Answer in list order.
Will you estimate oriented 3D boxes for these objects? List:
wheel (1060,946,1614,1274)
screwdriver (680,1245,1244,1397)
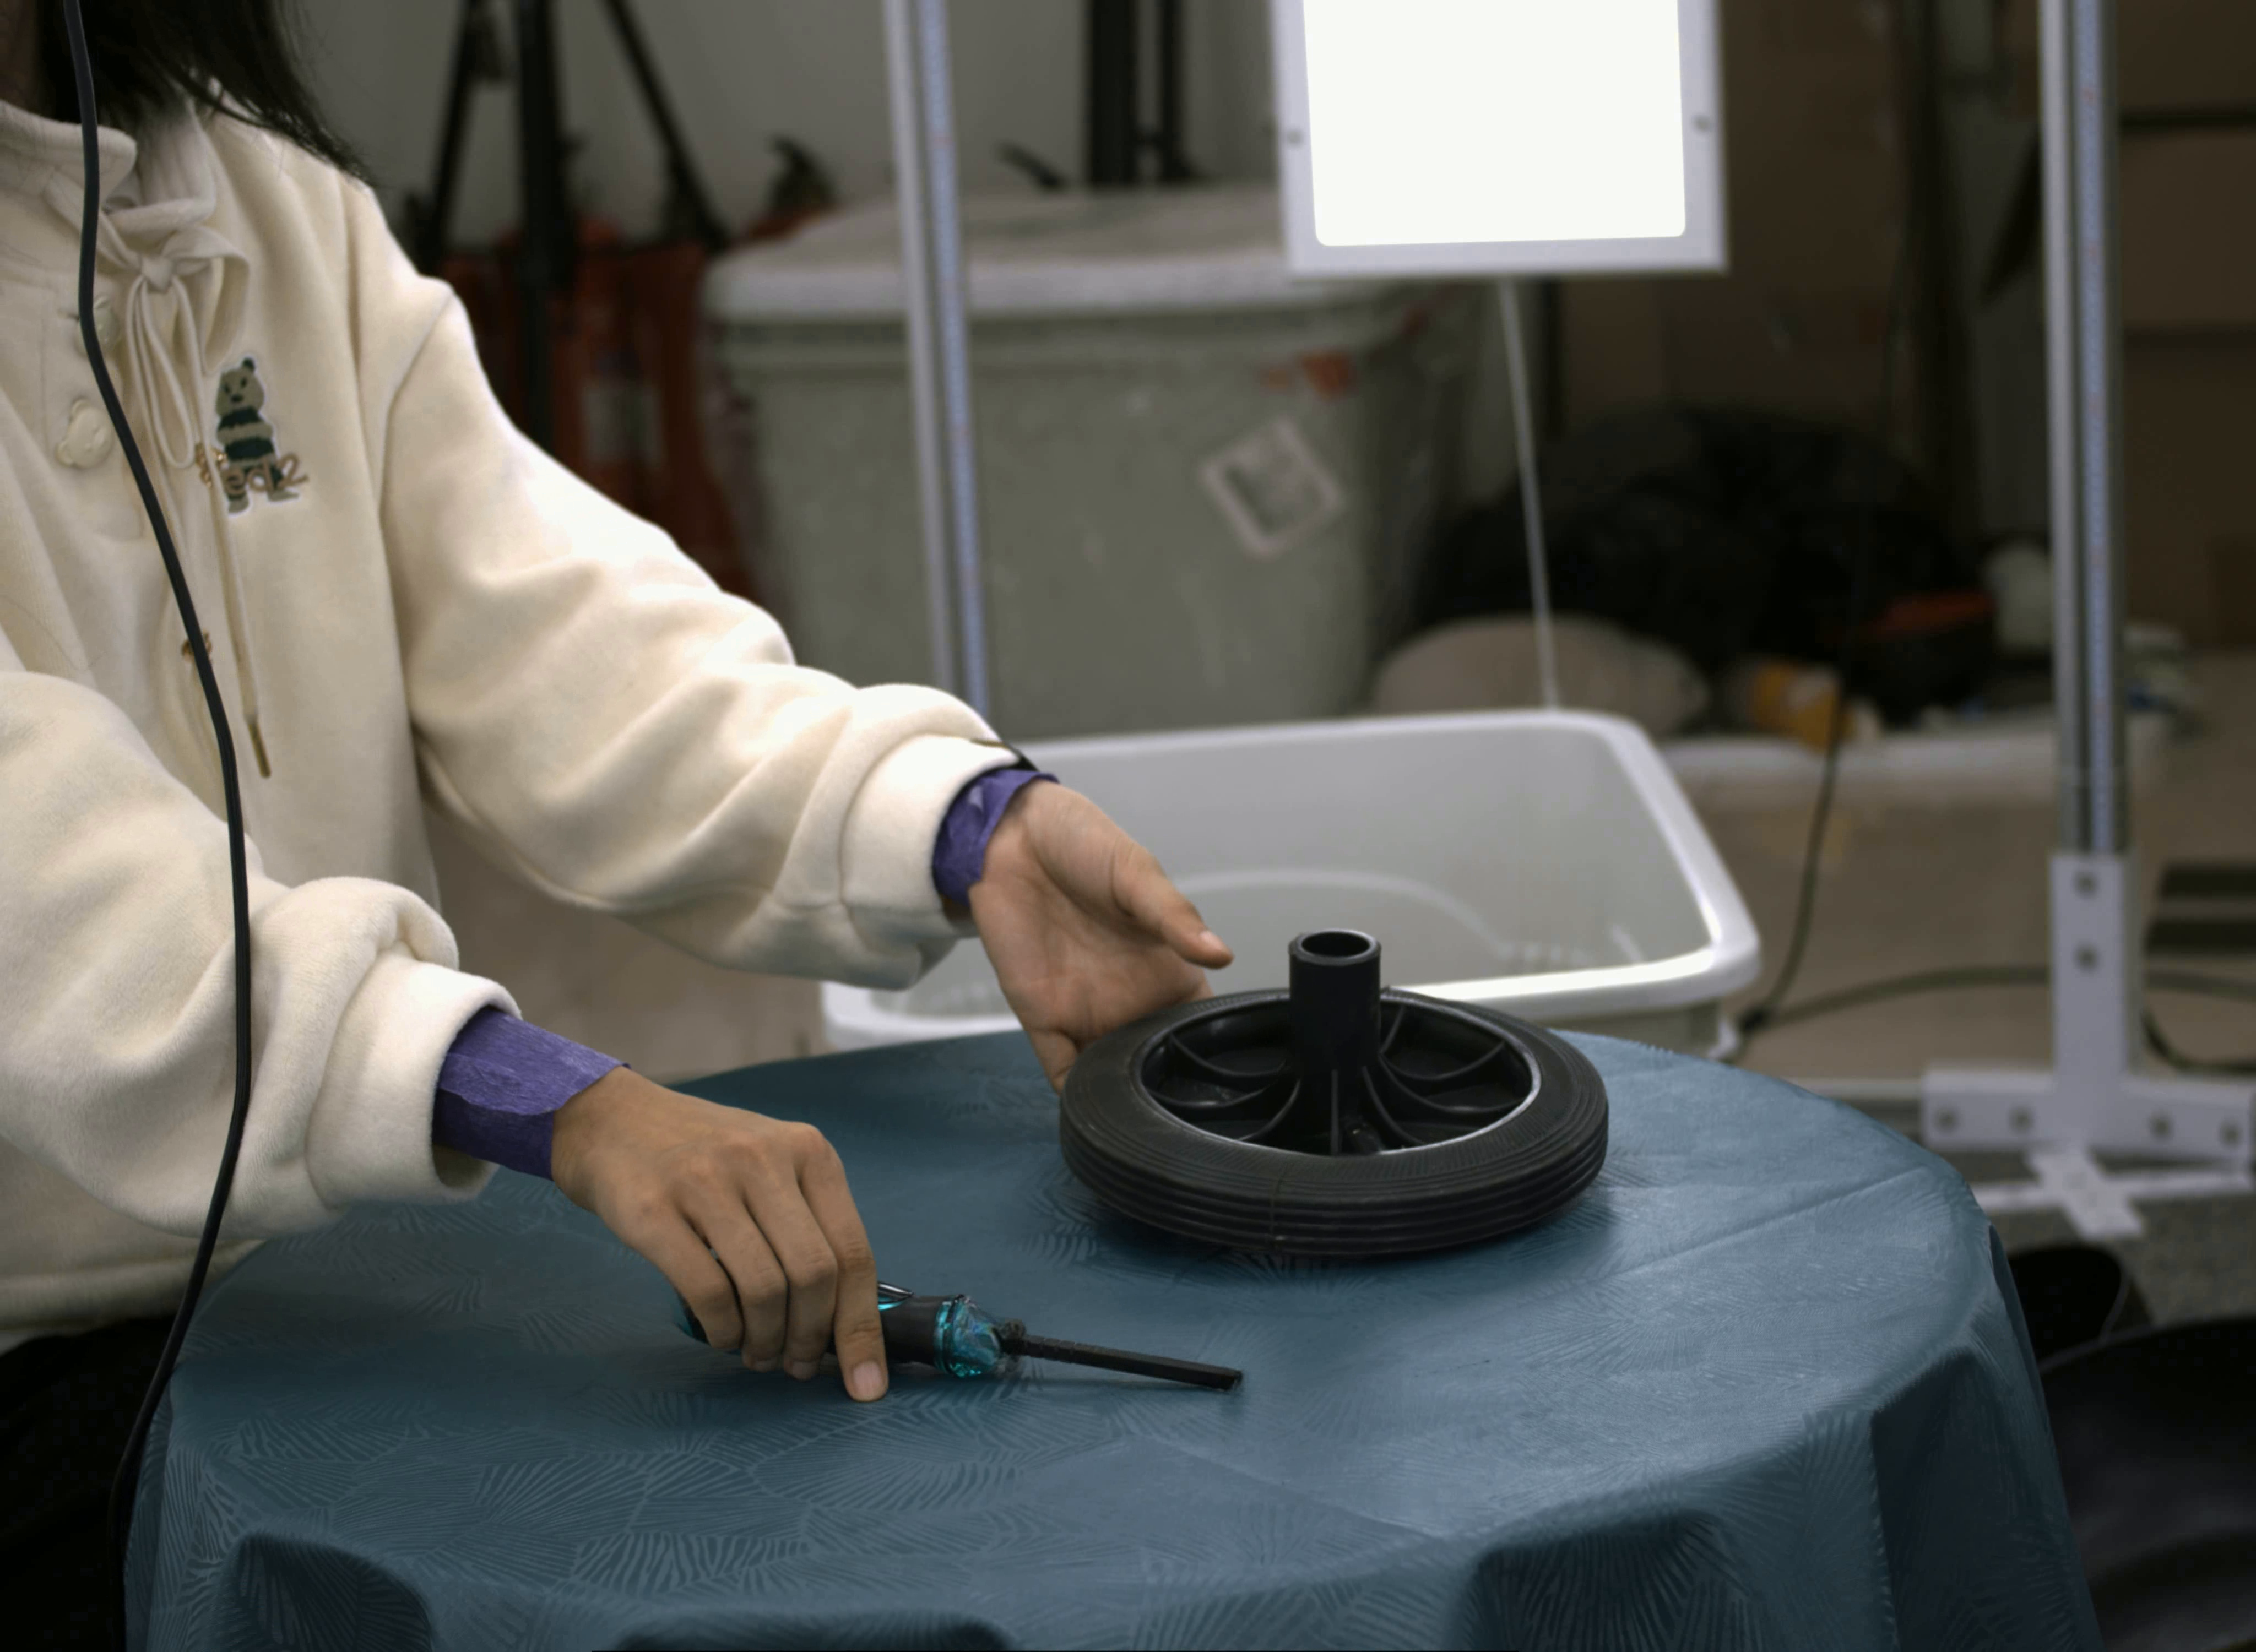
[{"bbox_3d":[0.072,0.083,1.870,0.183,0.079,0.193,-17,28,-36],"label":"wheel"},{"bbox_3d":[-0.052,0.160,1.728,0.192,0.034,0.033,9,18,22],"label":"screwdriver"}]
